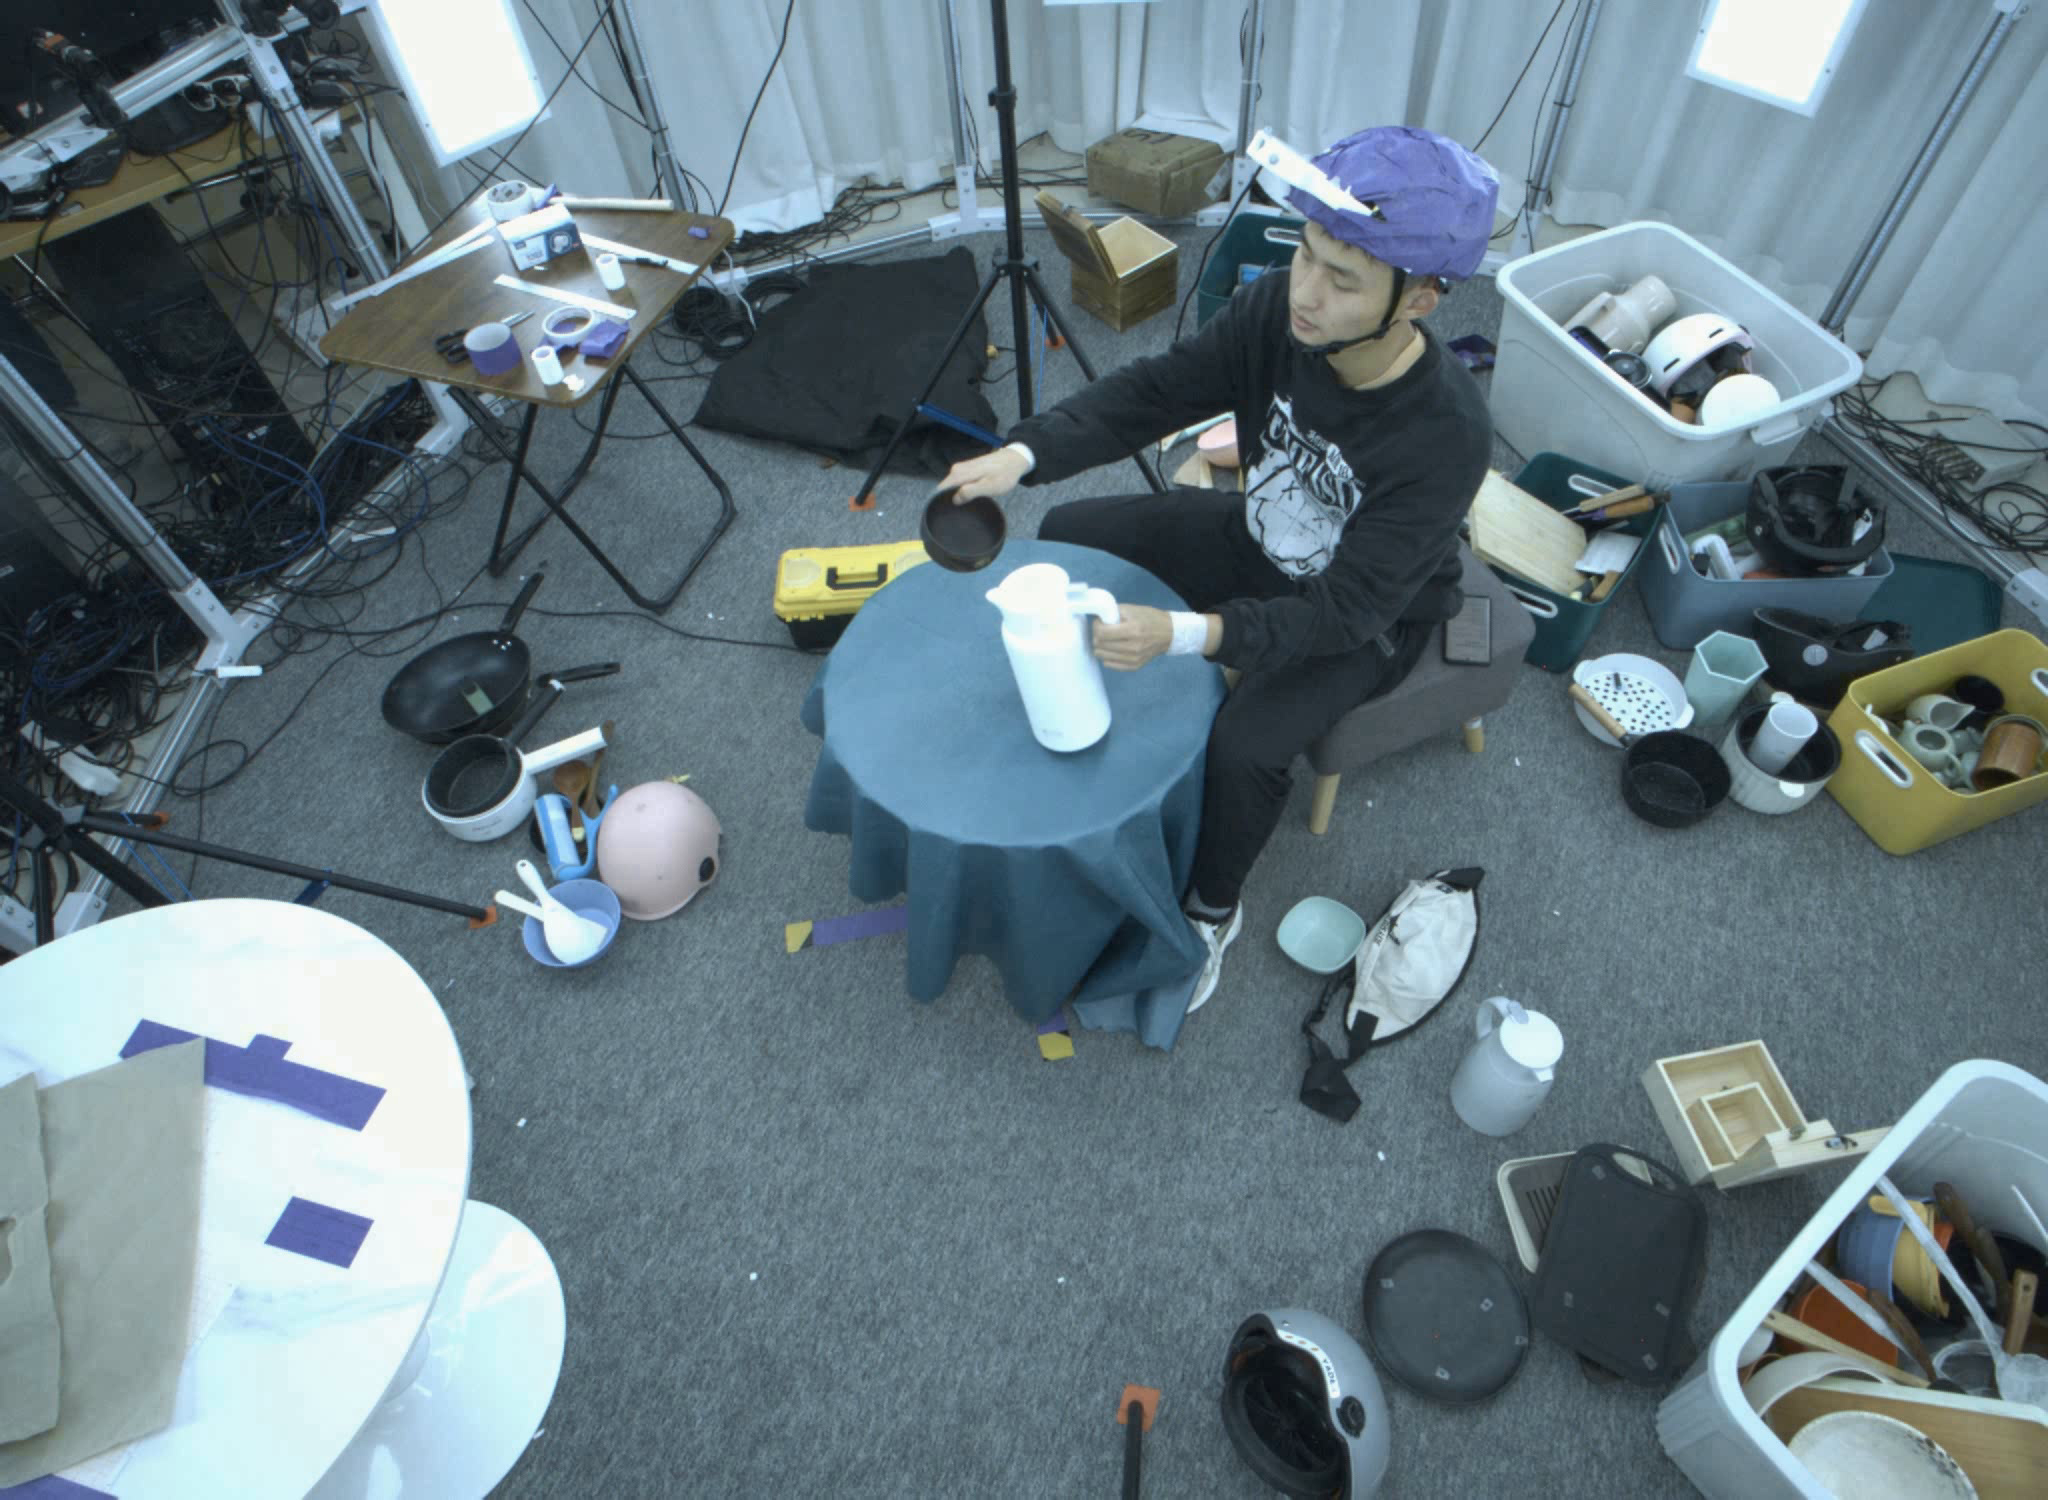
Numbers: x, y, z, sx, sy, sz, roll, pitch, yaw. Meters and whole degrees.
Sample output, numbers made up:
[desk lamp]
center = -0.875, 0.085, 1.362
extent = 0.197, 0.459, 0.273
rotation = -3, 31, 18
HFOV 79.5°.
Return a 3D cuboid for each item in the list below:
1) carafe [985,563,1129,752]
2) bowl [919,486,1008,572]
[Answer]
[carafe]
center = 0.059, -0.125, 1.693
extent = 0.171, 0.273, 0.123
rotation = 0, 47, 17
[bowl]
center = -0.086, -0.291, 1.653
extent = 0.119, 0.070, 0.117
rotation = 6, 63, -11
